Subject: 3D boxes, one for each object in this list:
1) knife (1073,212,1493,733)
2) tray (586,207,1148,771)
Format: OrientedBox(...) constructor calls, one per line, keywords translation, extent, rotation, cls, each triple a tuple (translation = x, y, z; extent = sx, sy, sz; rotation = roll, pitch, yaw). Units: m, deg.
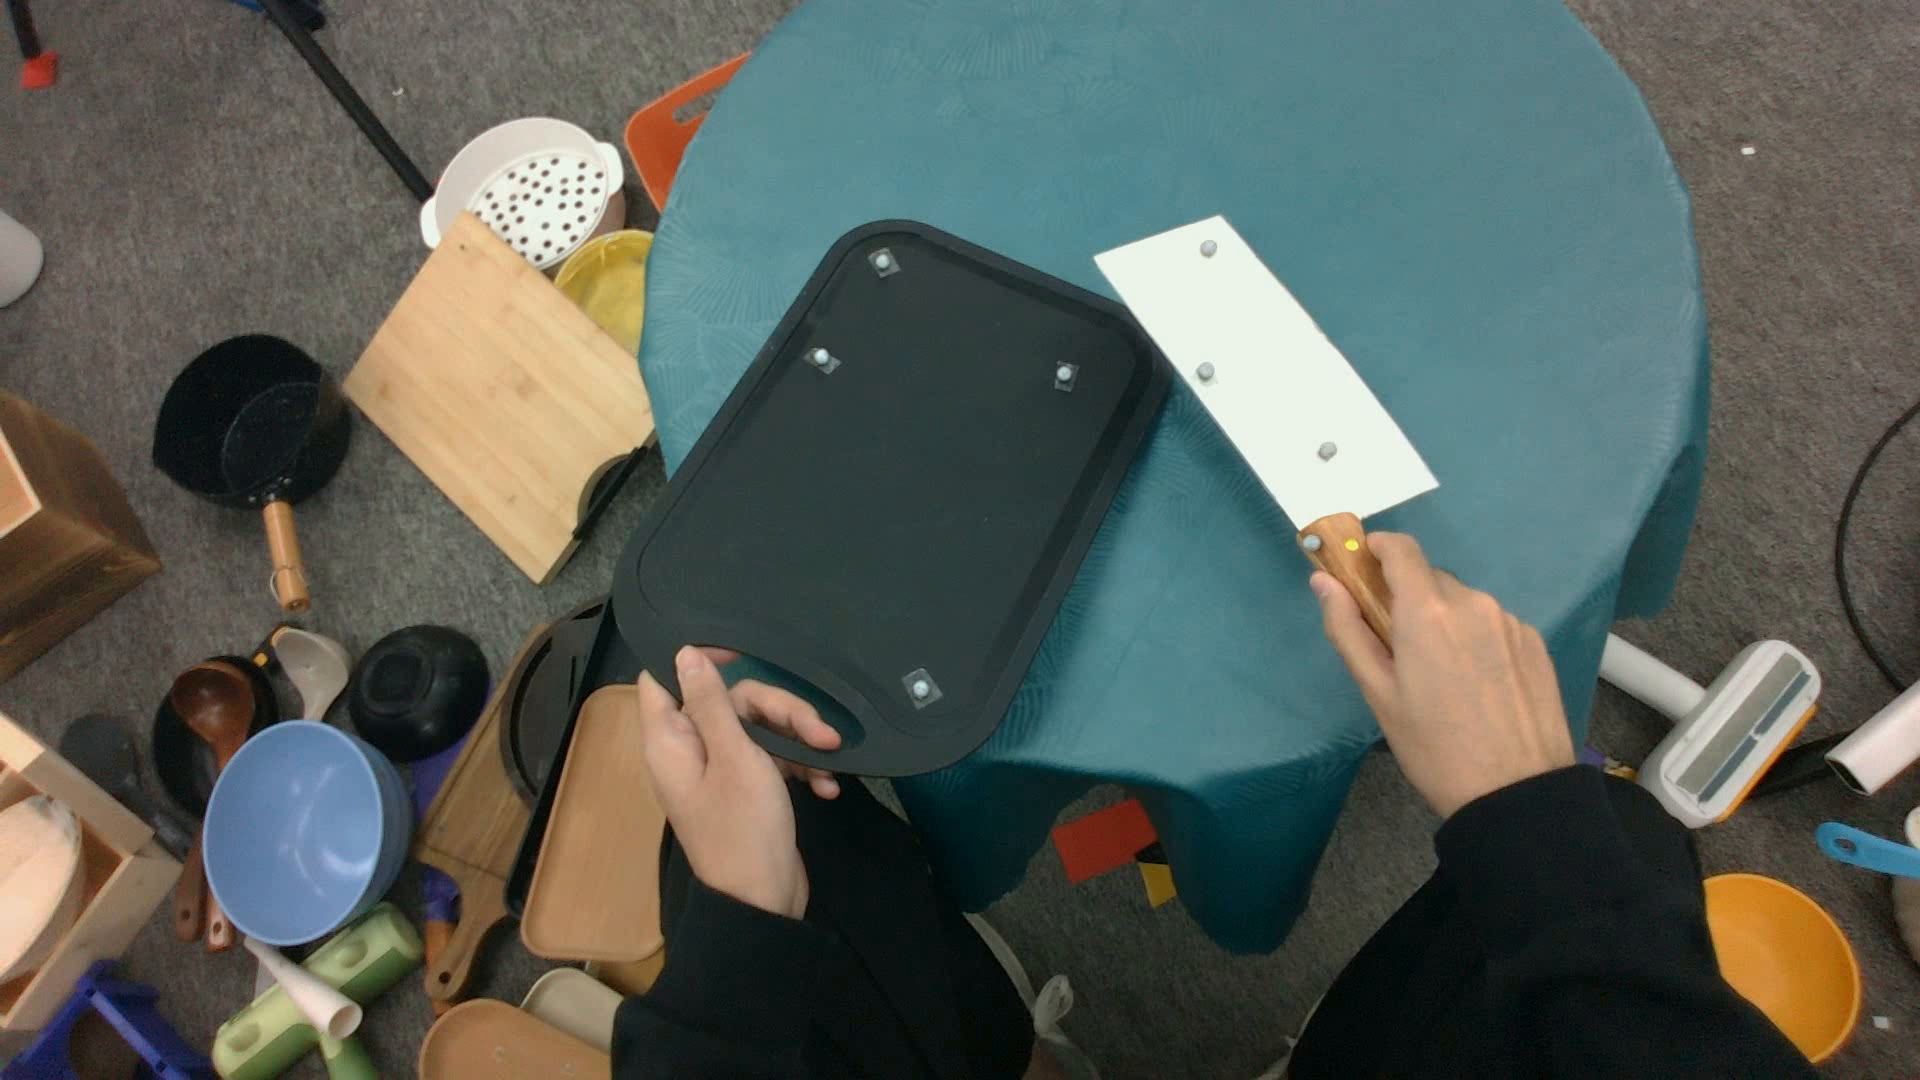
OrientedBox(translation=(0.169, -0.048, 0.675), extent=(0.093, 0.021, 0.306), rotation=(-22, 67, -28), cls="knife")
OrientedBox(translation=(-0.043, -0.038, 0.716), extent=(0.211, 0.010, 0.327), rotation=(25, 63, 8), cls="tray")
